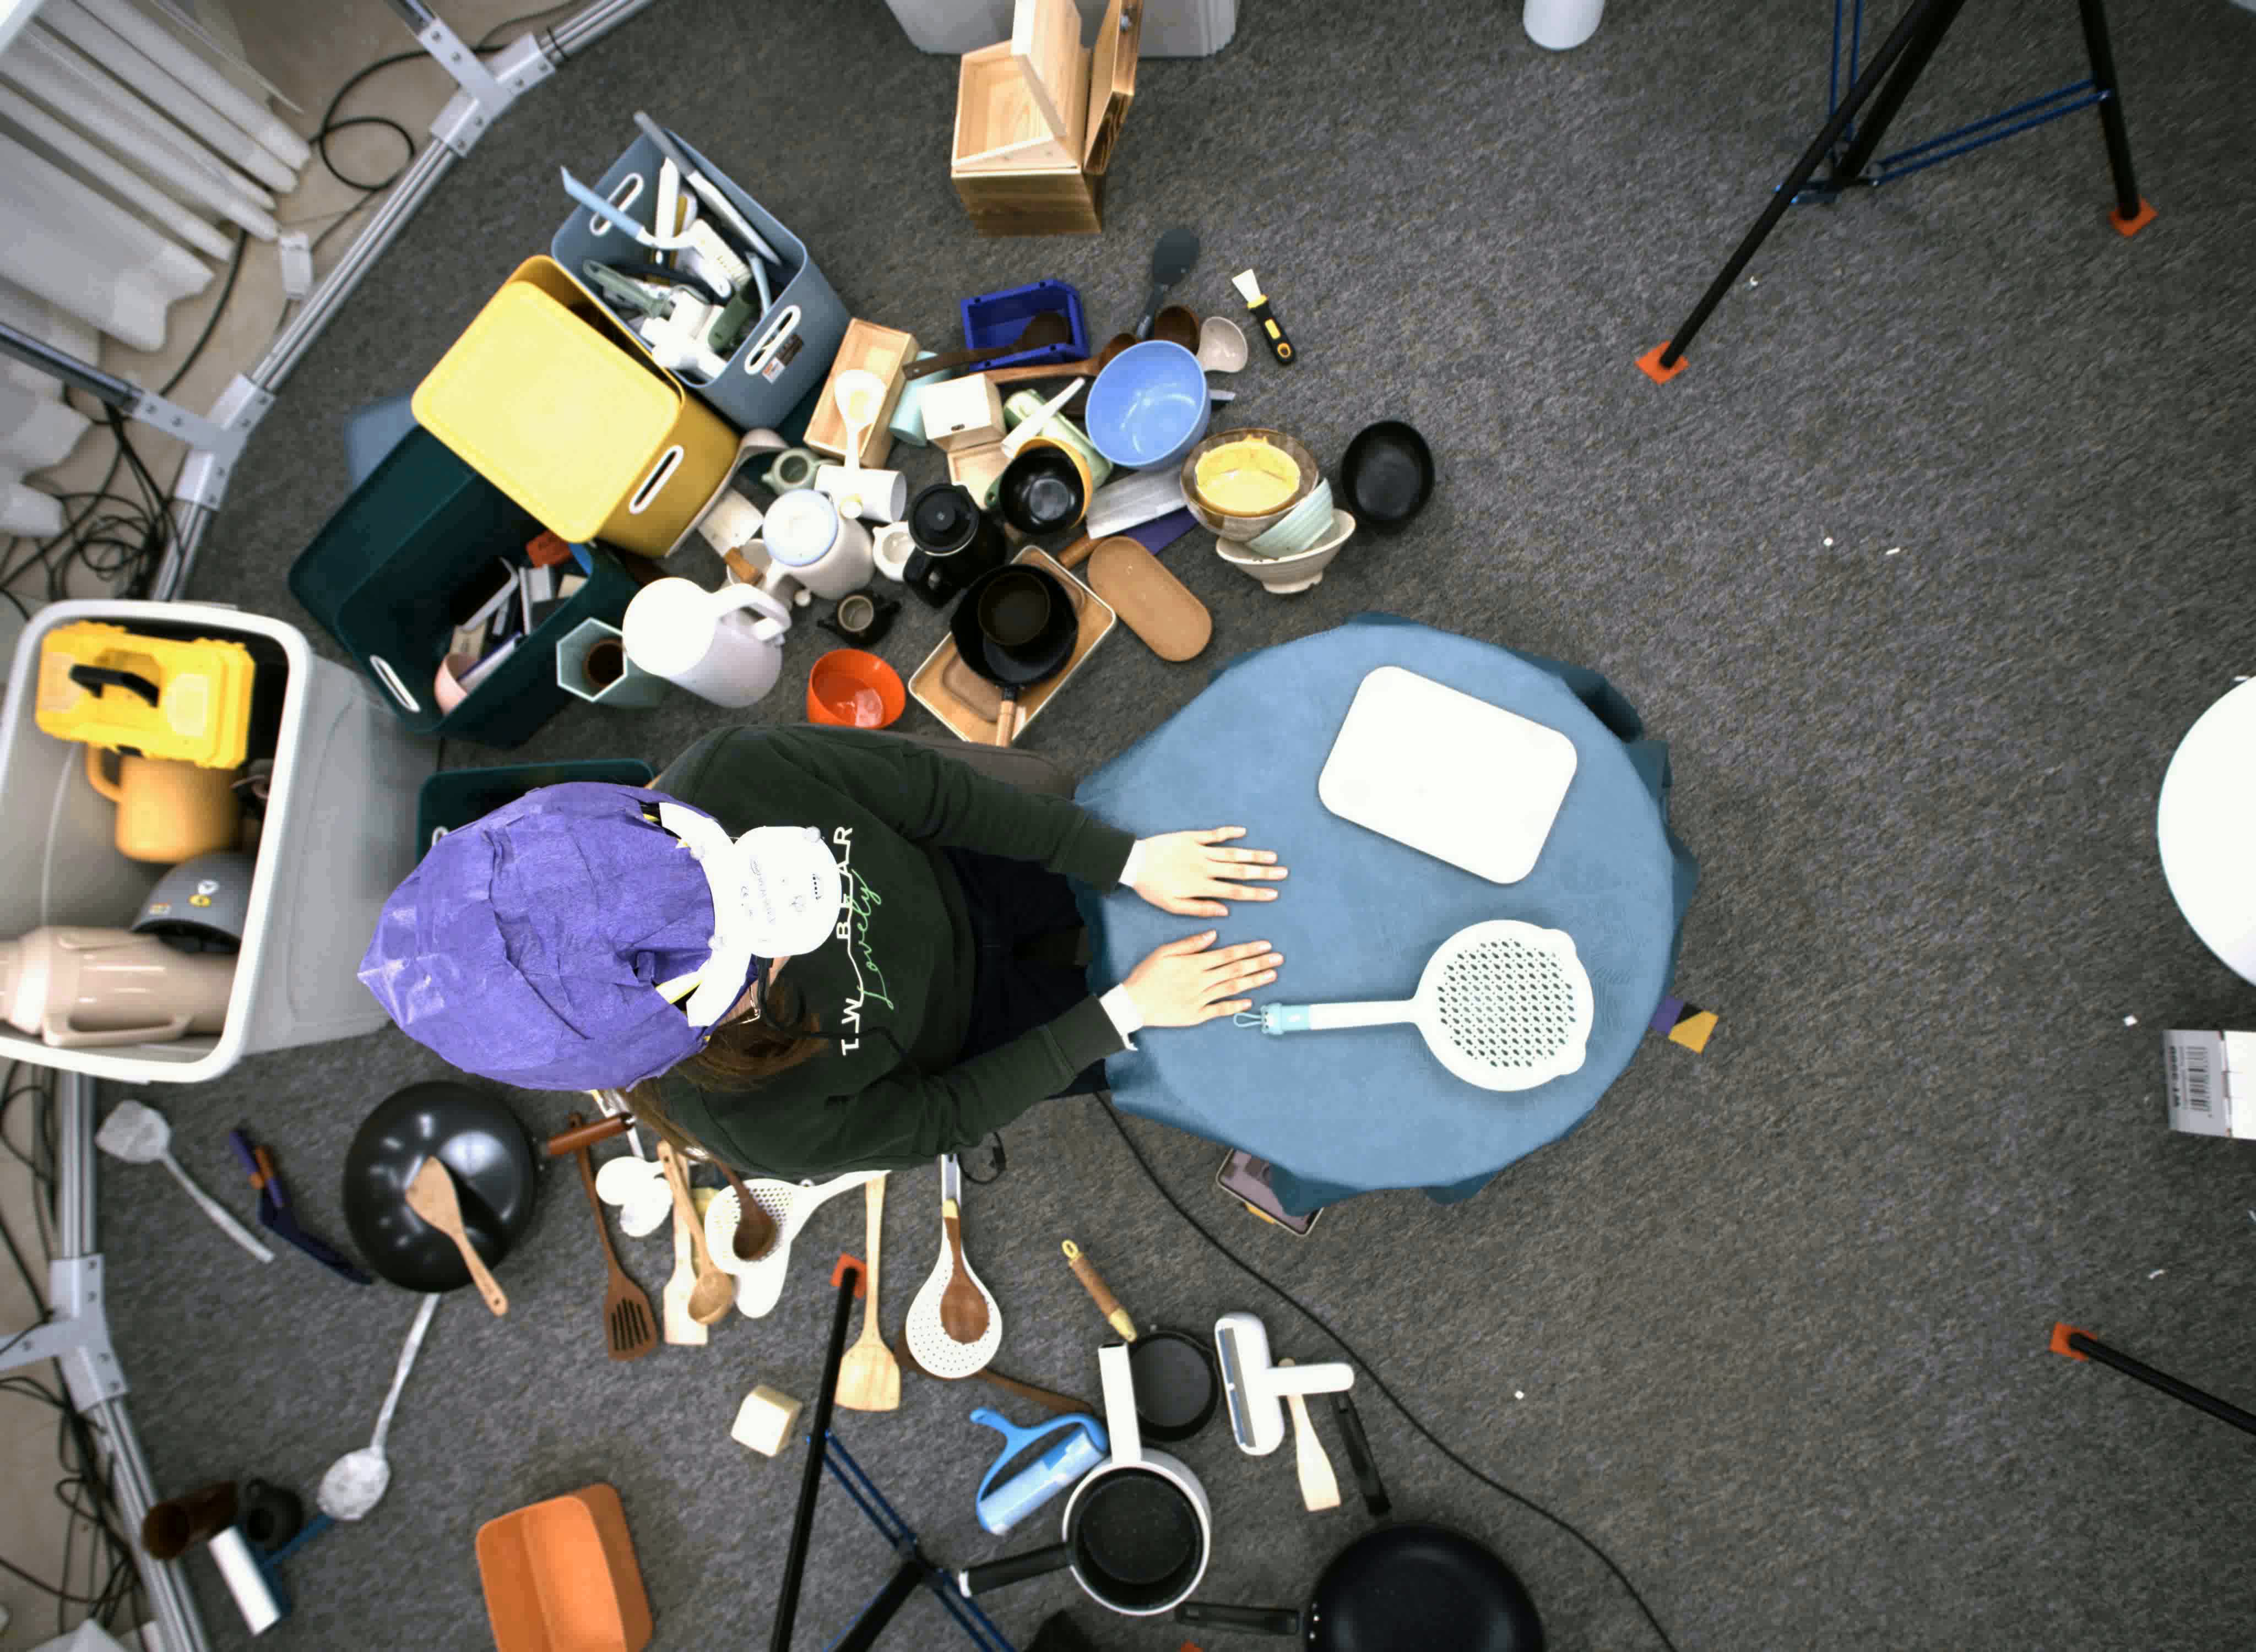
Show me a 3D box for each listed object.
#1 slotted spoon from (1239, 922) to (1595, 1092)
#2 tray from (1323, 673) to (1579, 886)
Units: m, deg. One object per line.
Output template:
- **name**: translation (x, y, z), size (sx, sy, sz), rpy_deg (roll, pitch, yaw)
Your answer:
- **slotted spoon**: translation (0.290, 0.190, 1.421), size (0.360, 0.075, 0.168), rpy_deg (-5, 84, 11)
- **tray**: translation (0.339, -0.052, 1.452), size (0.239, 0.017, 0.171), rpy_deg (23, 90, 12)
